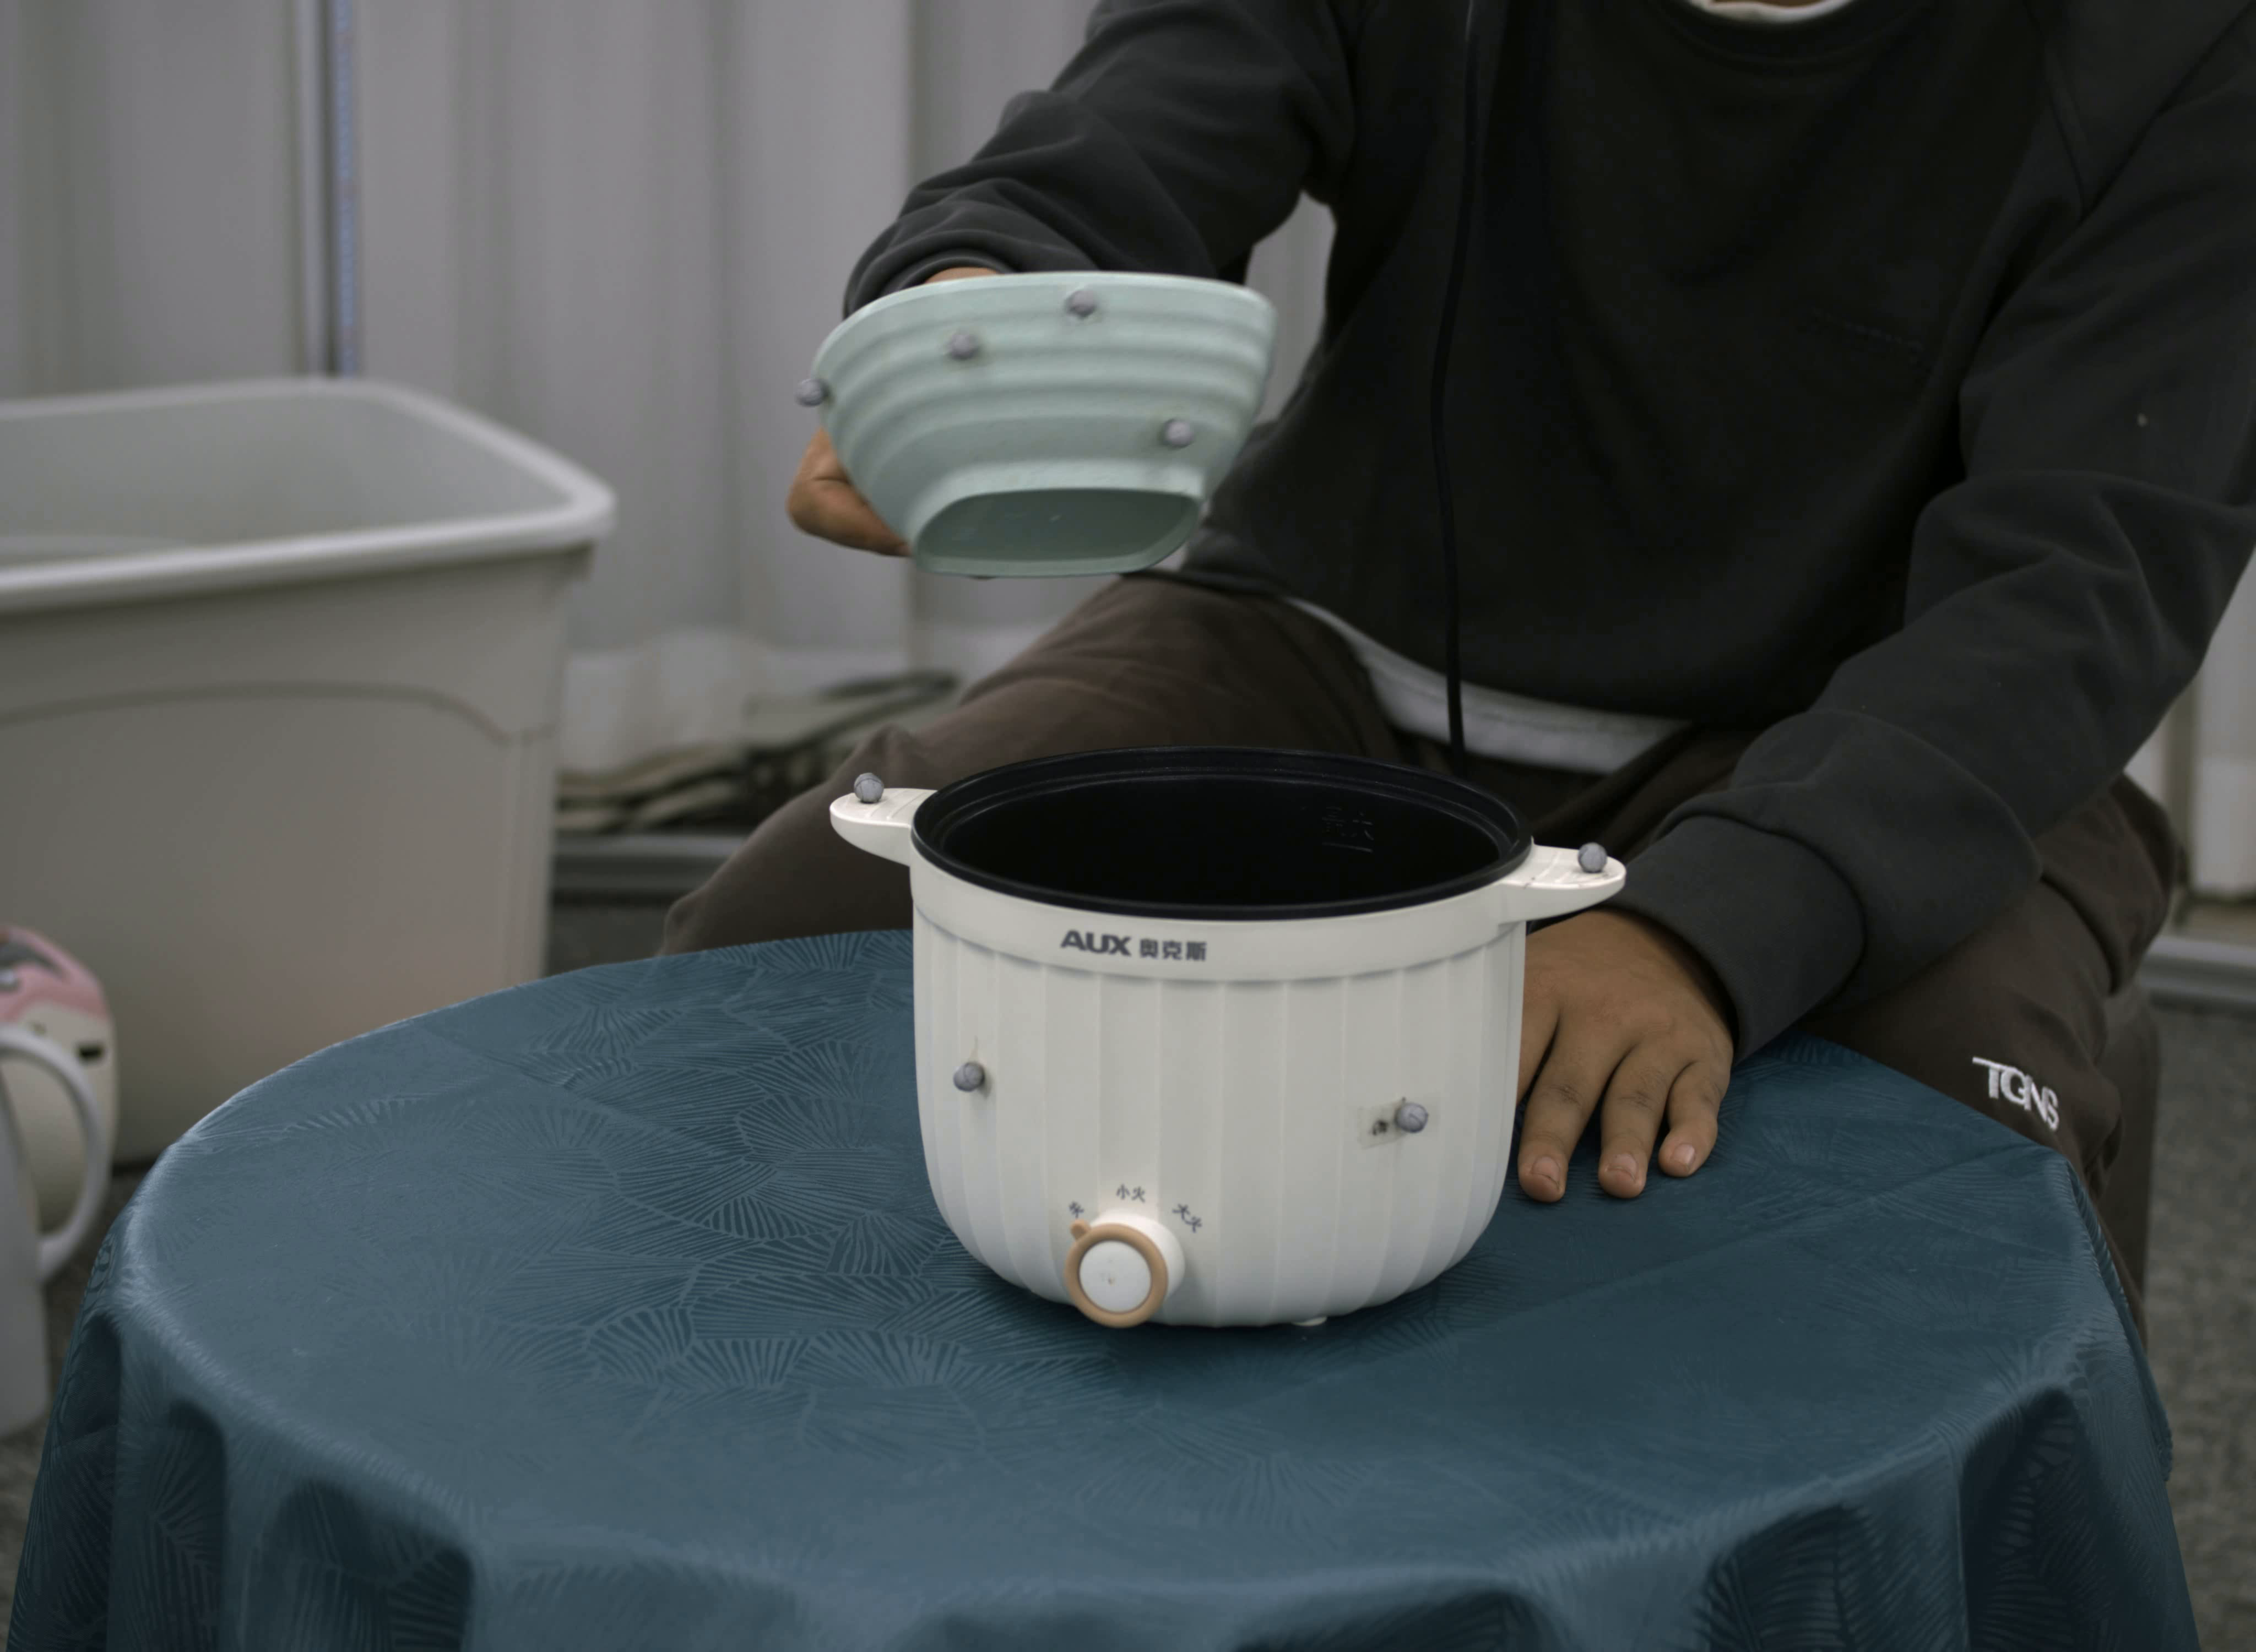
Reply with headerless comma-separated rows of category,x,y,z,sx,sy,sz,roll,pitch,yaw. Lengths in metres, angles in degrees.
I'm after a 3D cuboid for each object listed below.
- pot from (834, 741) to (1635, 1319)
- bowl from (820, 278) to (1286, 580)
pot,0.028,0.062,1.543,0.238,0.143,0.190,3,13,15
bowl,-0.021,-0.113,1.575,0.151,0.058,0.152,-5,-14,-1
